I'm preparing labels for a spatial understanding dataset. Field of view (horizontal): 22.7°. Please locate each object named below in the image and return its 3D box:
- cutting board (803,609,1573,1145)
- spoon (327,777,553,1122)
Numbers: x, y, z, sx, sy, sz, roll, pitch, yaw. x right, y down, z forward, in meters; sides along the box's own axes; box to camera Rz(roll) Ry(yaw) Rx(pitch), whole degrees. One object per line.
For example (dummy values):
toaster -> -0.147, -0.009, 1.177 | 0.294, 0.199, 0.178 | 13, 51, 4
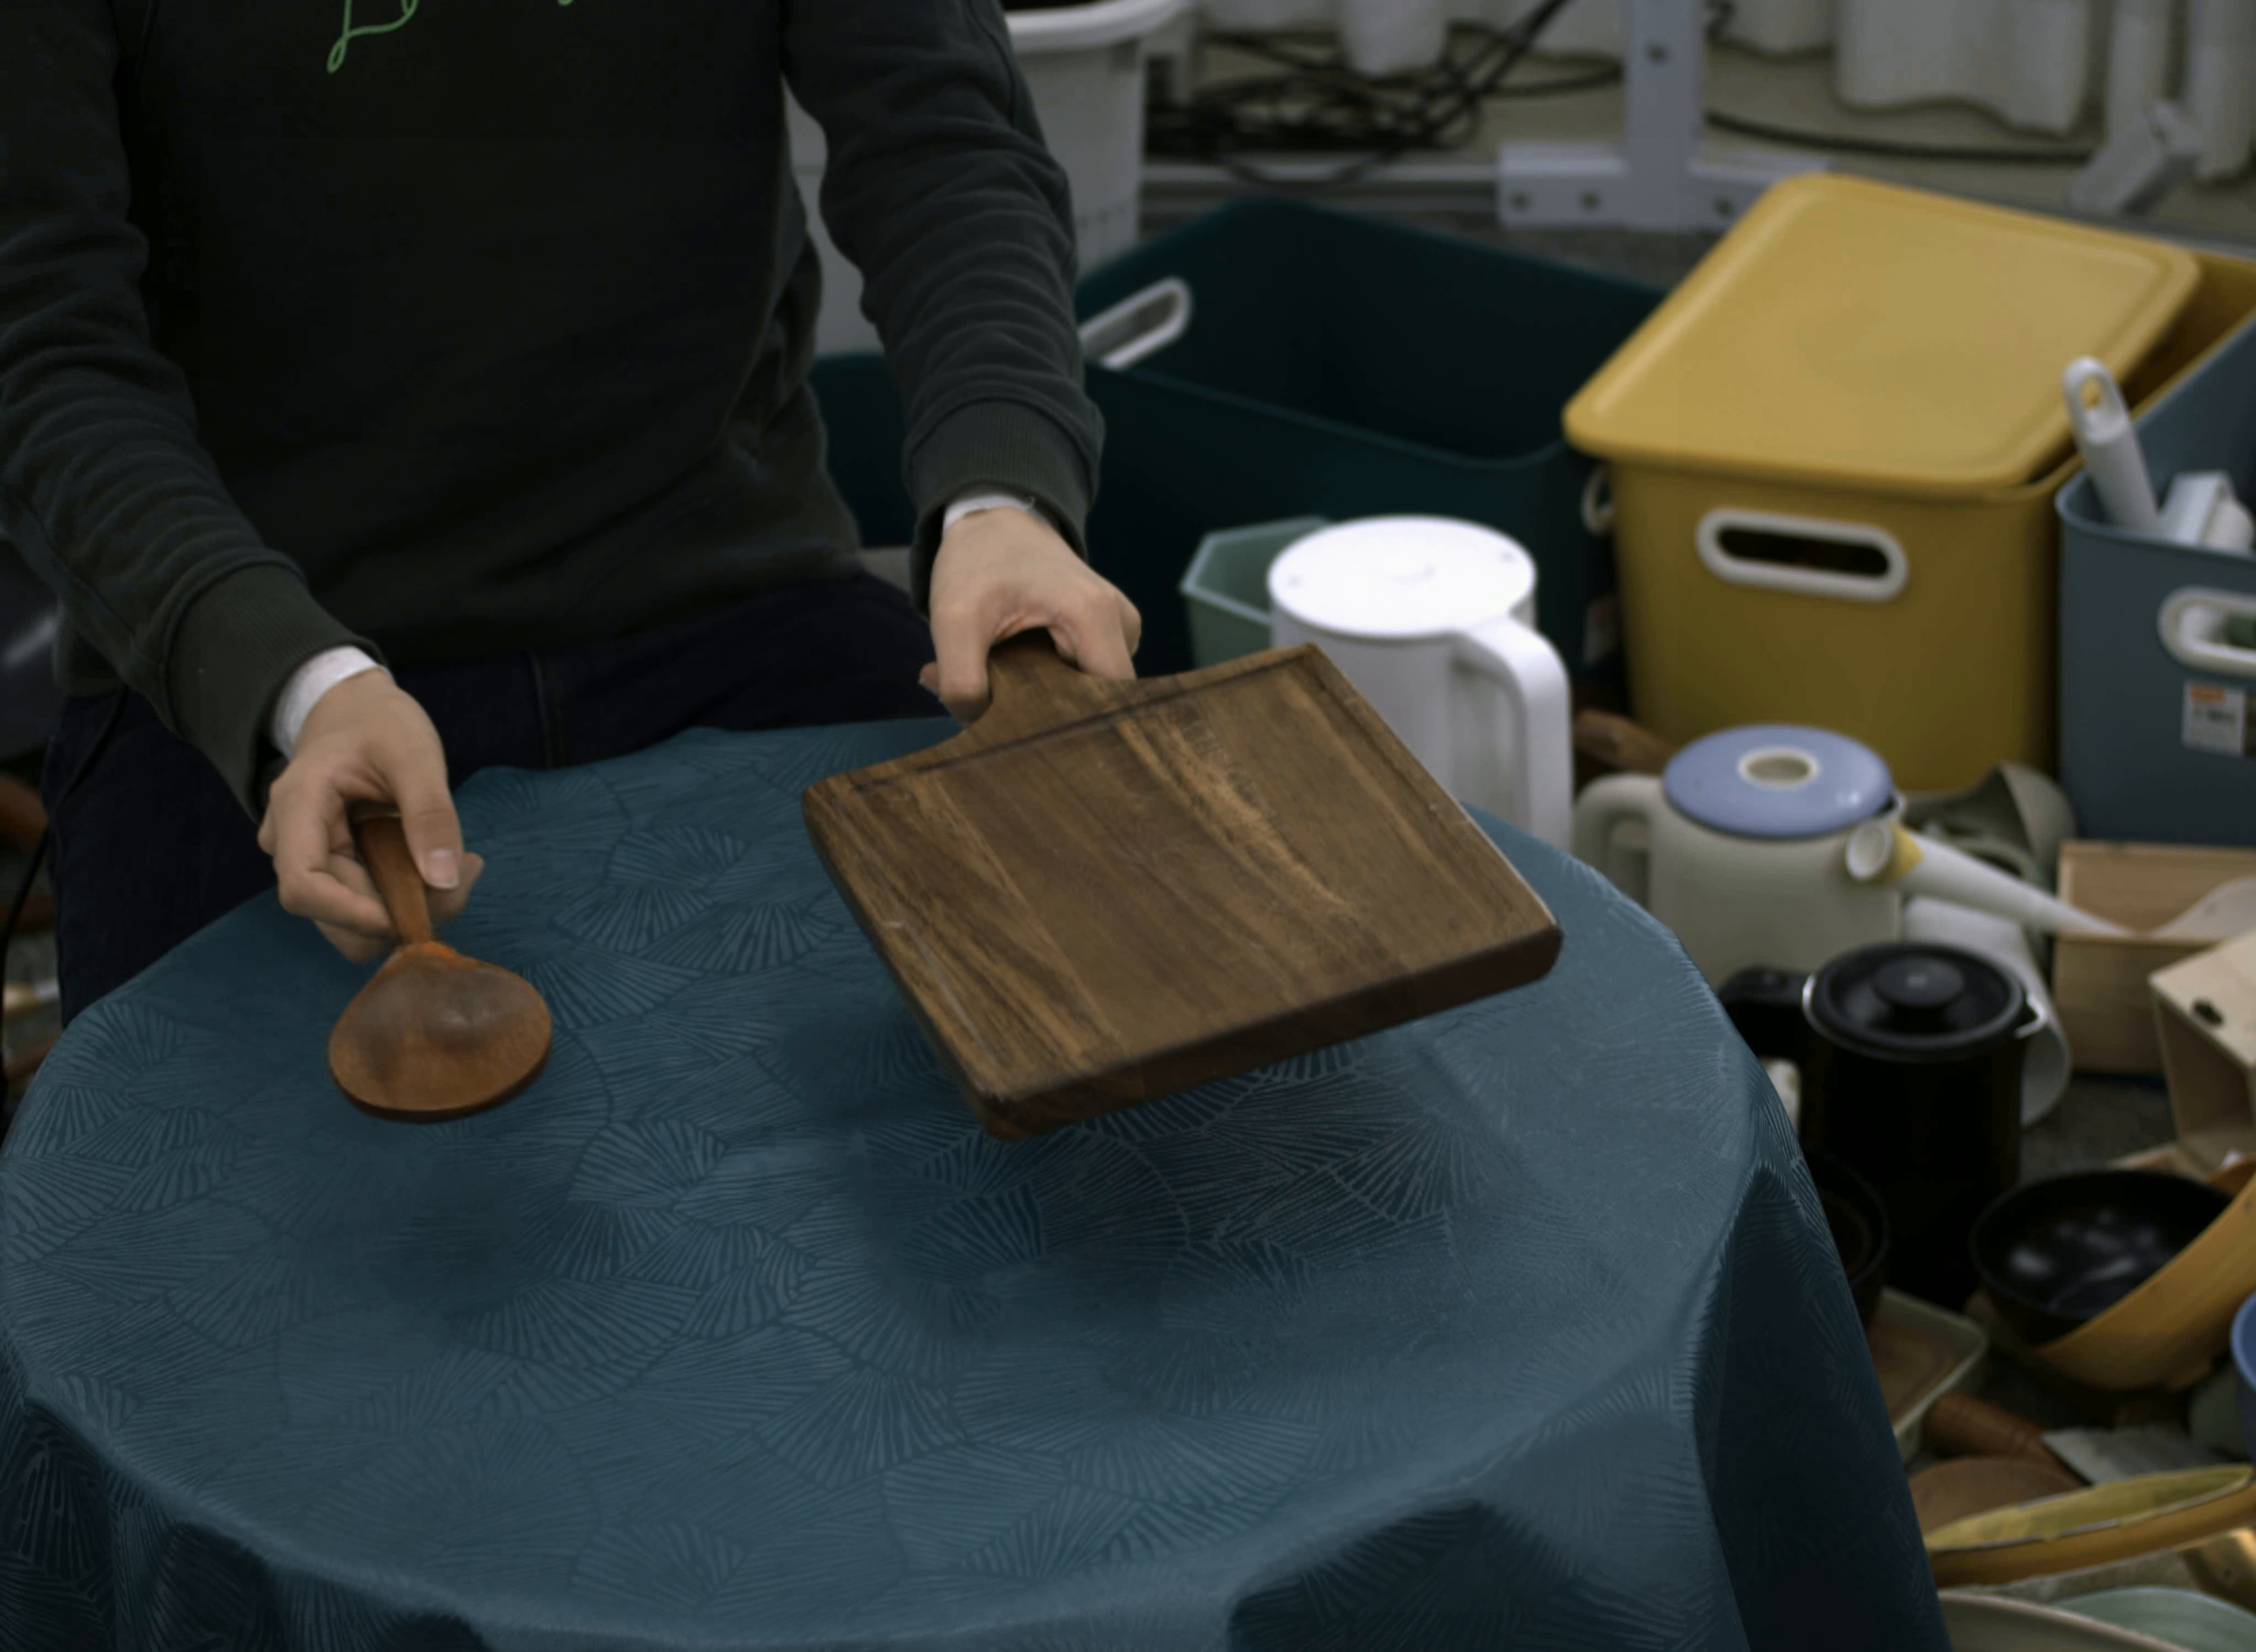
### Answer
cutting board -> 0.000, -0.003, 1.917 | 0.201, 0.023, 0.355 | -18, 27, -10
spoon -> -0.238, 0.042, 1.885 | 0.075, 0.017, 0.218 | -14, 32, -7
